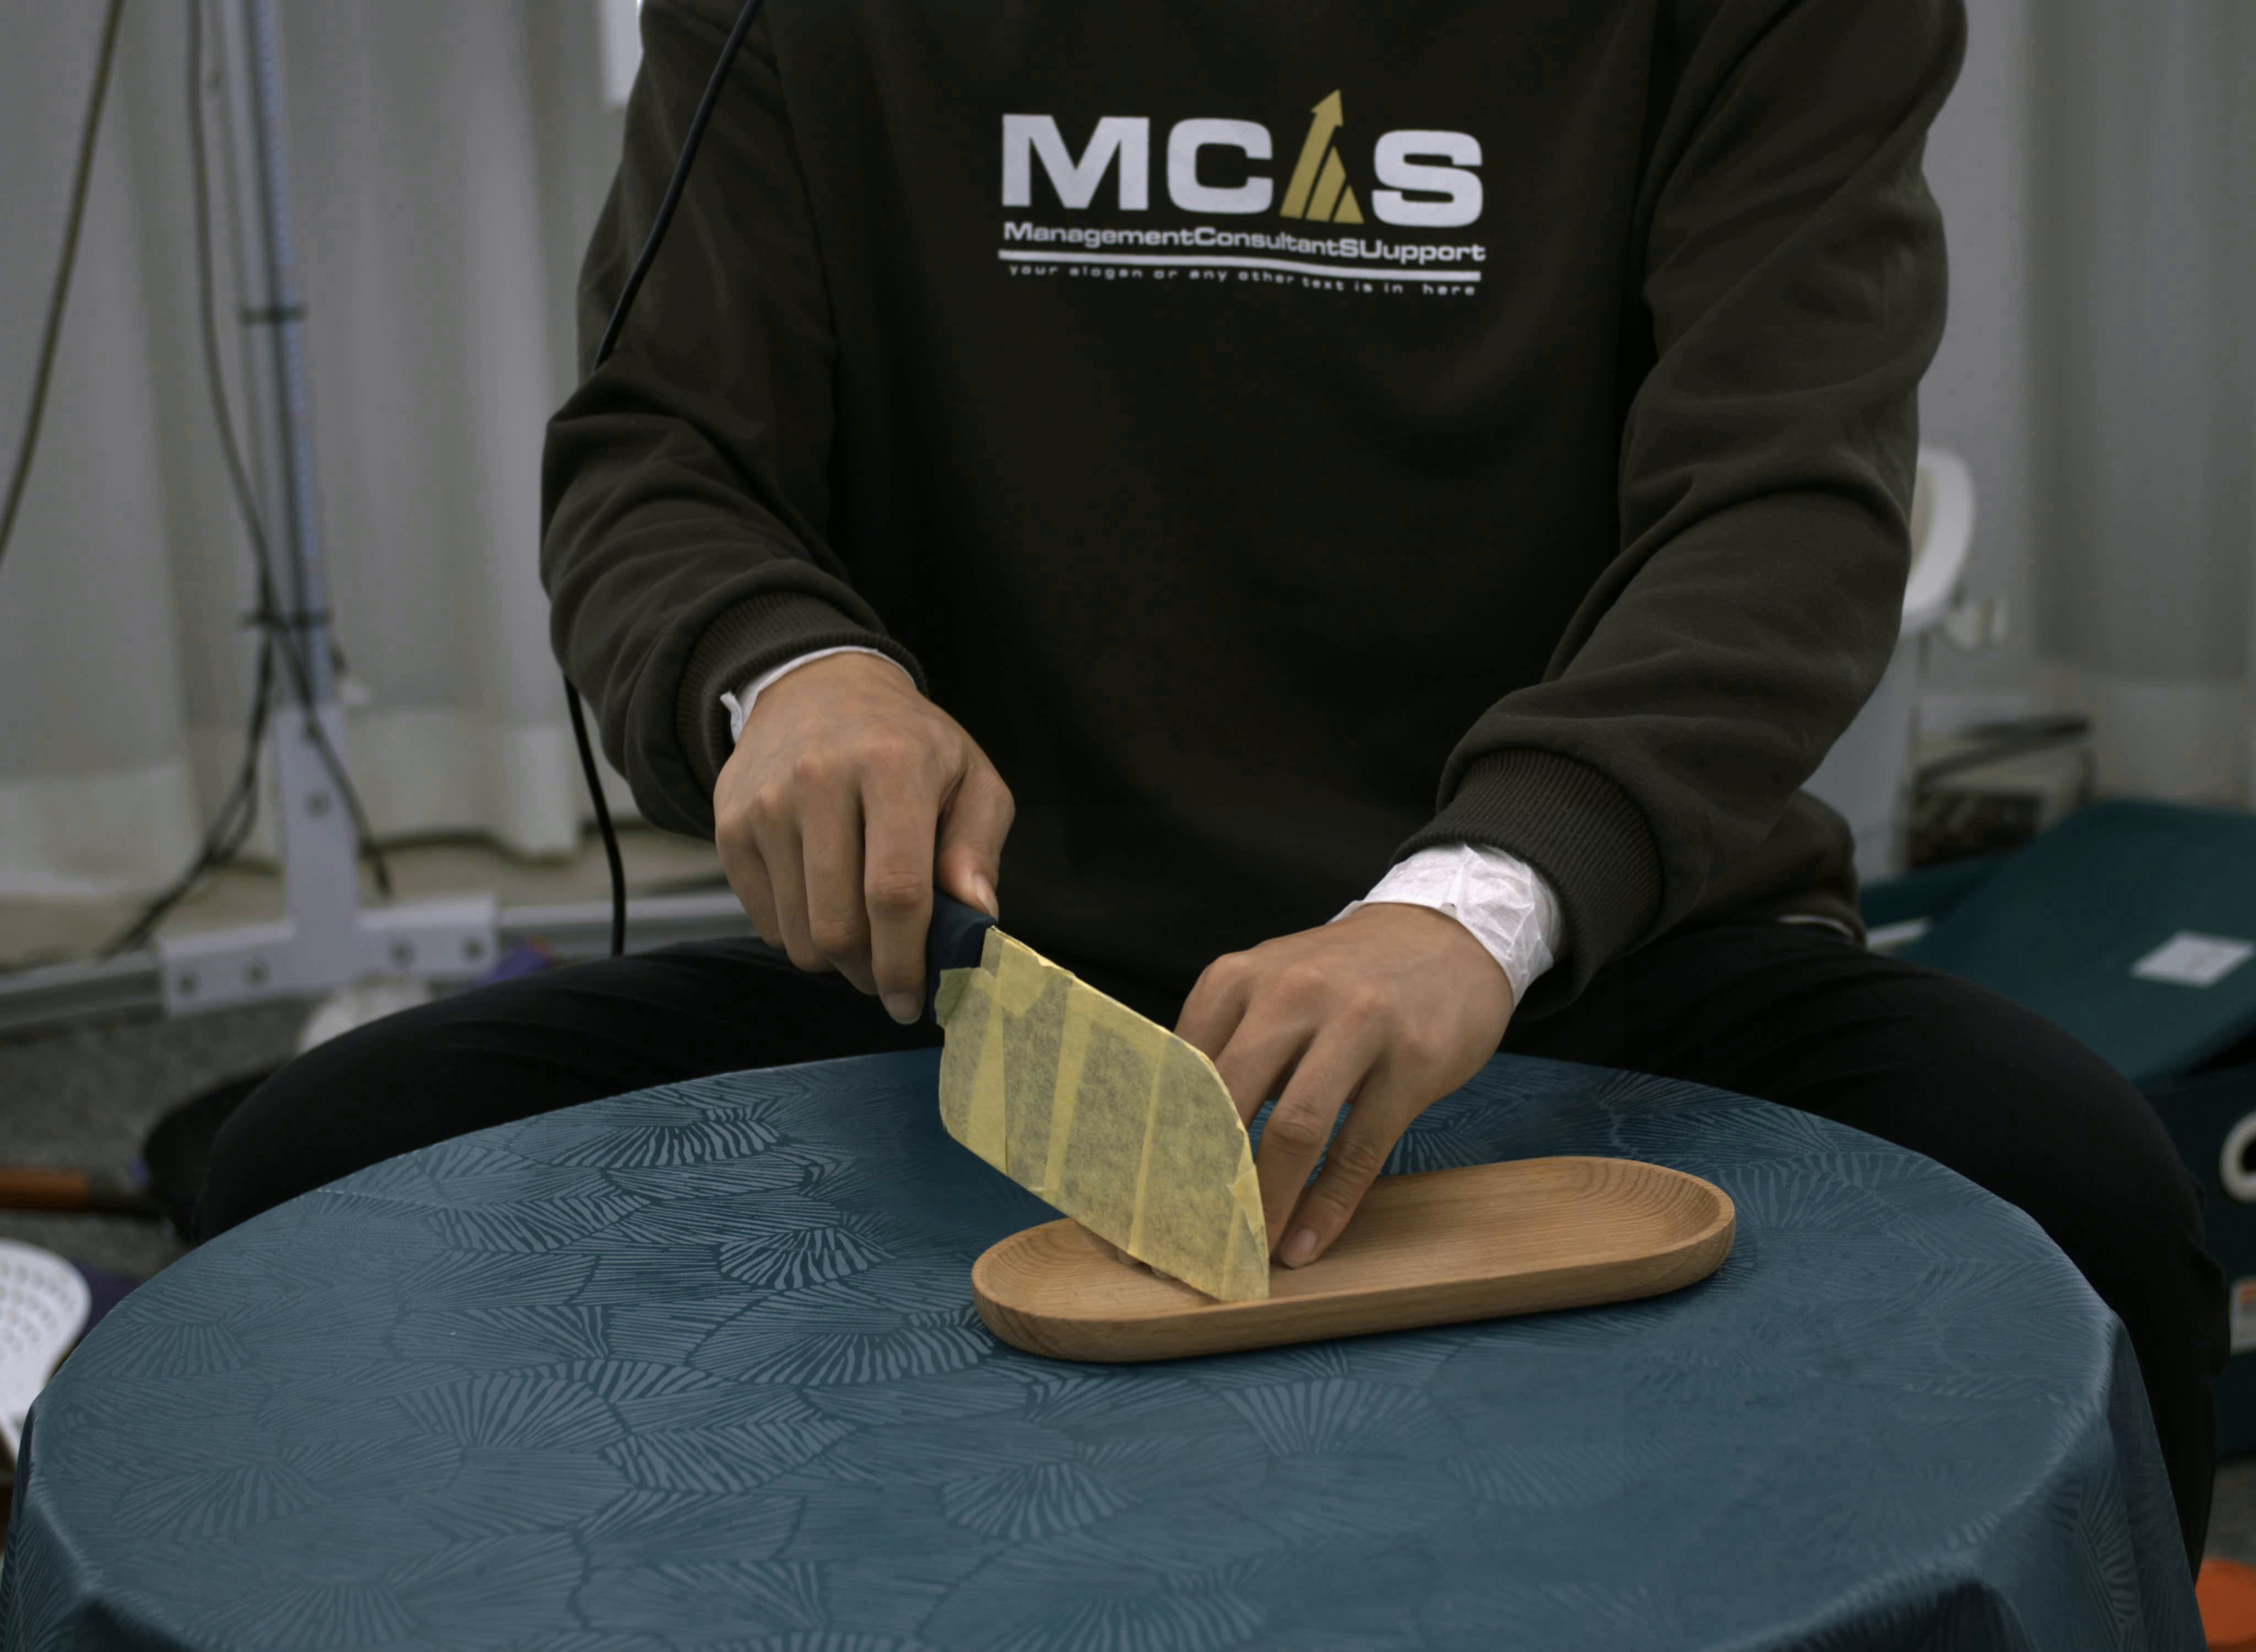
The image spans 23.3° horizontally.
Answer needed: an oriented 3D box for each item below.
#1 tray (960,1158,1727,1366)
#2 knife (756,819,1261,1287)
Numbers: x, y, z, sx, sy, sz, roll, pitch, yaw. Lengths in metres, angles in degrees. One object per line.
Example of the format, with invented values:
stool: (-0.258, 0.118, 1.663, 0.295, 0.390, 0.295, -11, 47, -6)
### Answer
tray: (0.064, 0.129, 1.618, 0.230, 0.020, 0.102, -7, 14, -11)
knife: (-0.039, 0.066, 1.679, 0.027, 0.080, 0.292, 1, 21, -35)
